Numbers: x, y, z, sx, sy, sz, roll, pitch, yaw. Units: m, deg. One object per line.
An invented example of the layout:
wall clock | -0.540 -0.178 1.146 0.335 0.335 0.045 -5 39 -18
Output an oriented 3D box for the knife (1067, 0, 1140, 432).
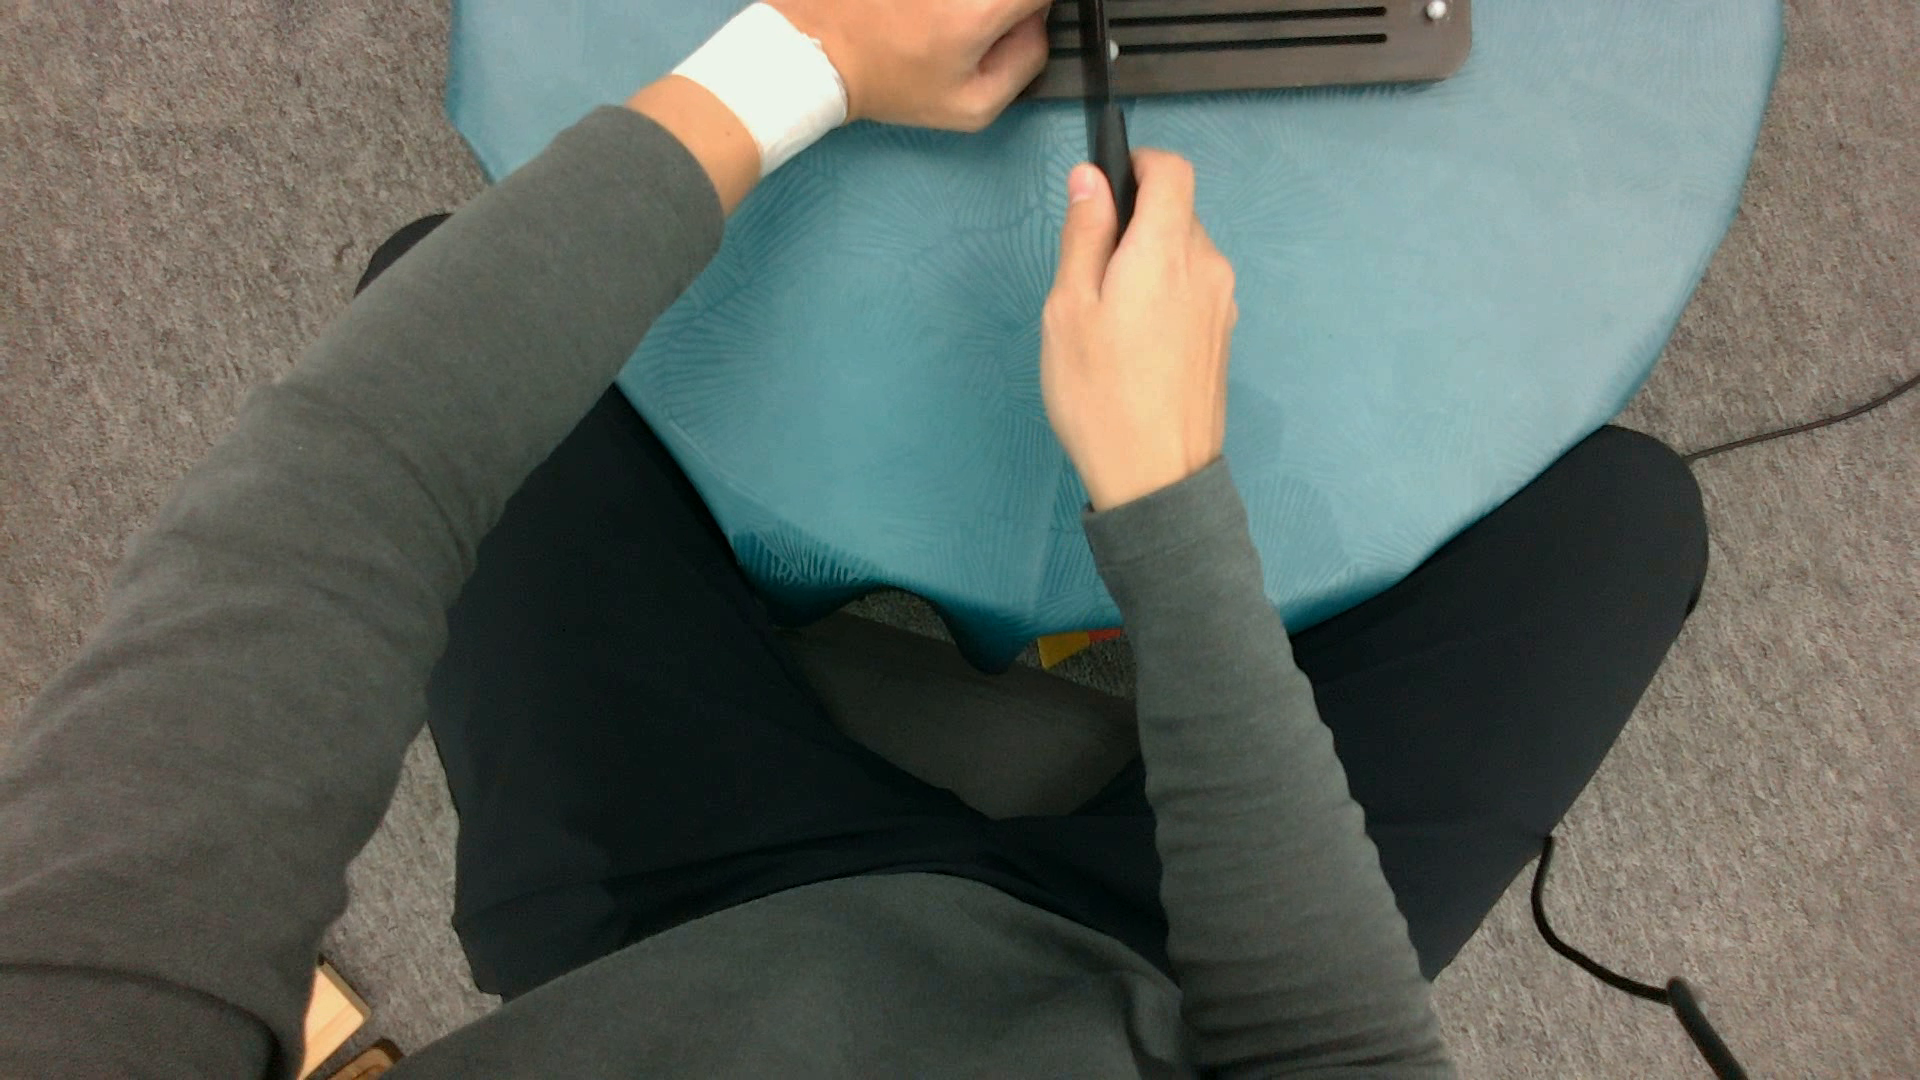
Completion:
knife | 0.049 -0.194 0.550 0.021 0.081 0.302 -5 89 -1

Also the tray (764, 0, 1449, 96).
tray | 0.064 -0.289 0.613 0.306 0.018 0.170 -3 94 -2
